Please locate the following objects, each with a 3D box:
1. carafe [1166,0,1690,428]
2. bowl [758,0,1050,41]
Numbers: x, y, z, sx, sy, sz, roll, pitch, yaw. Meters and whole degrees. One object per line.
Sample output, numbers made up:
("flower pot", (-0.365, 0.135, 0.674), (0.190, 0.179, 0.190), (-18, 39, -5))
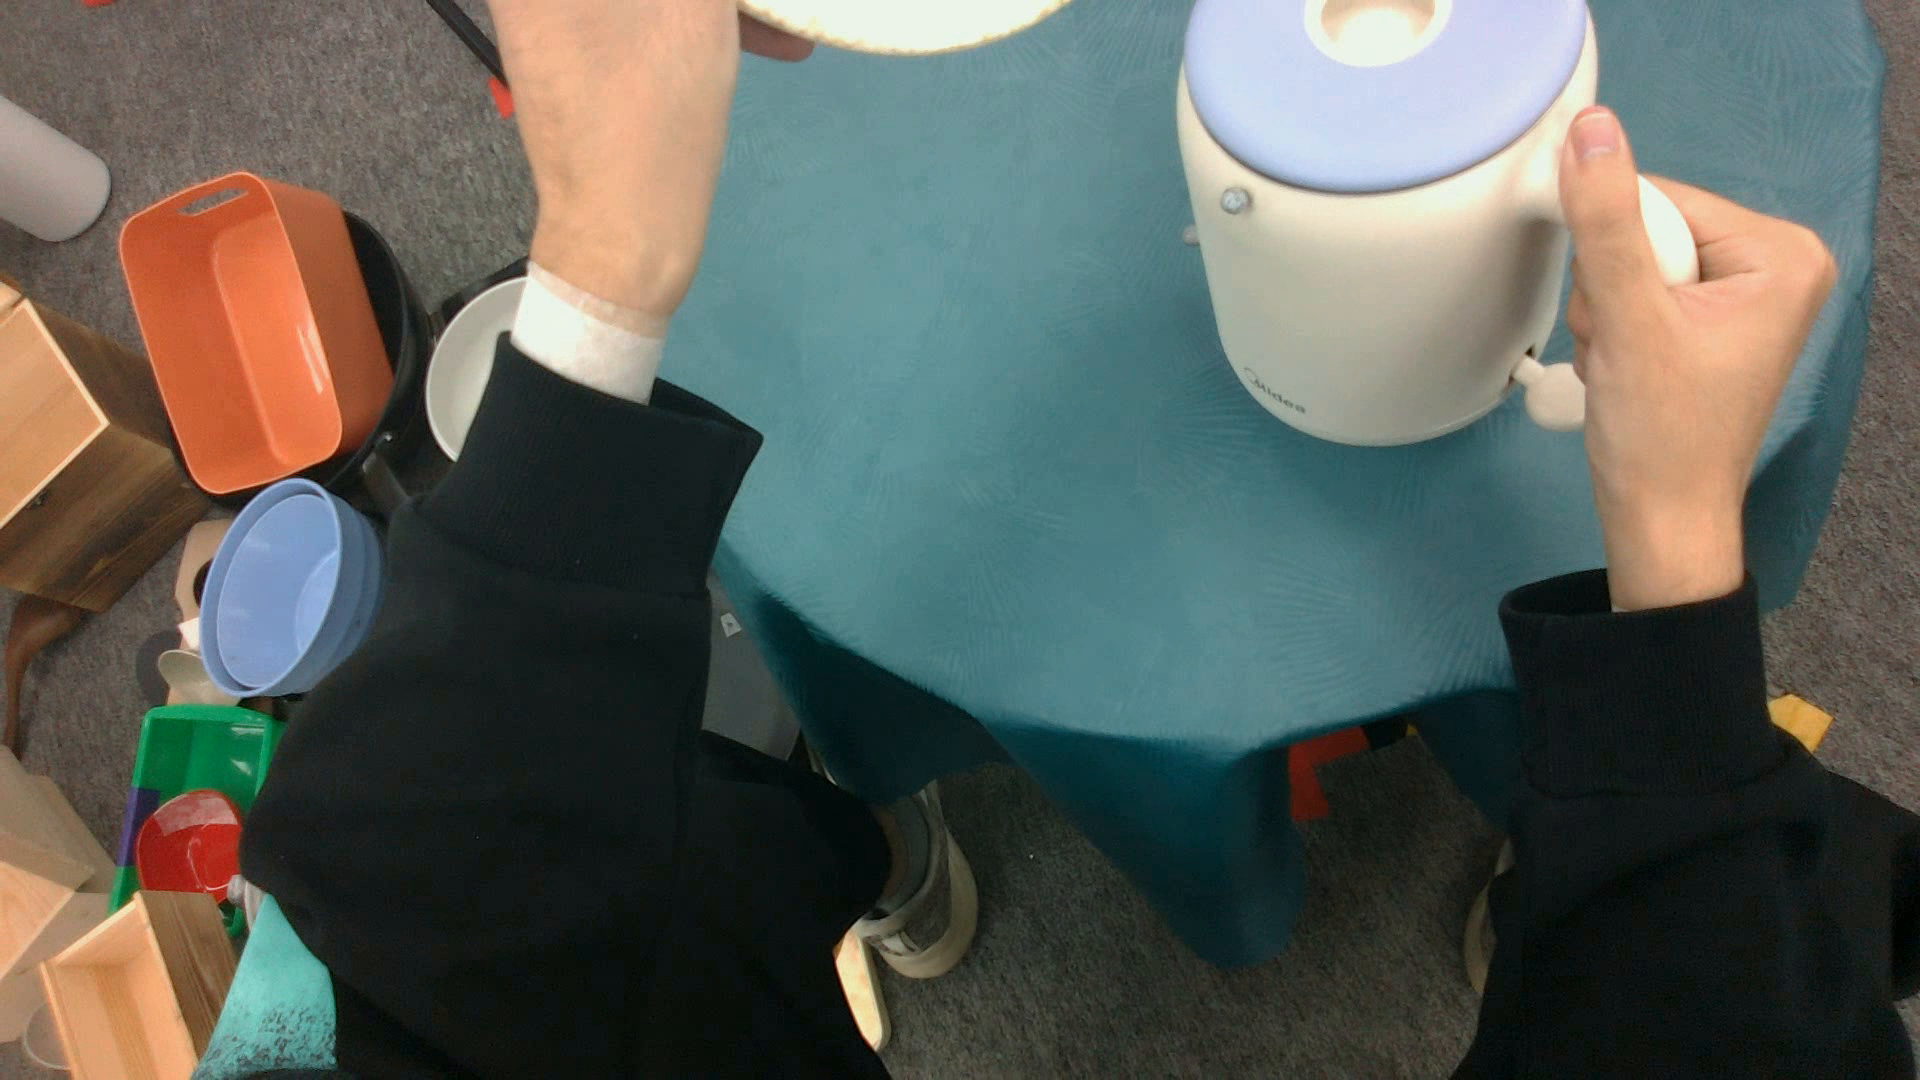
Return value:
("carafe", (0.165, -0.119, 0.491), (0.191, 0.182, 0.132), (38, 84, 24))
("bowl", (-0.034, -0.258, 0.438), (0.204, 0.078, 0.203), (-3, 99, -19))
